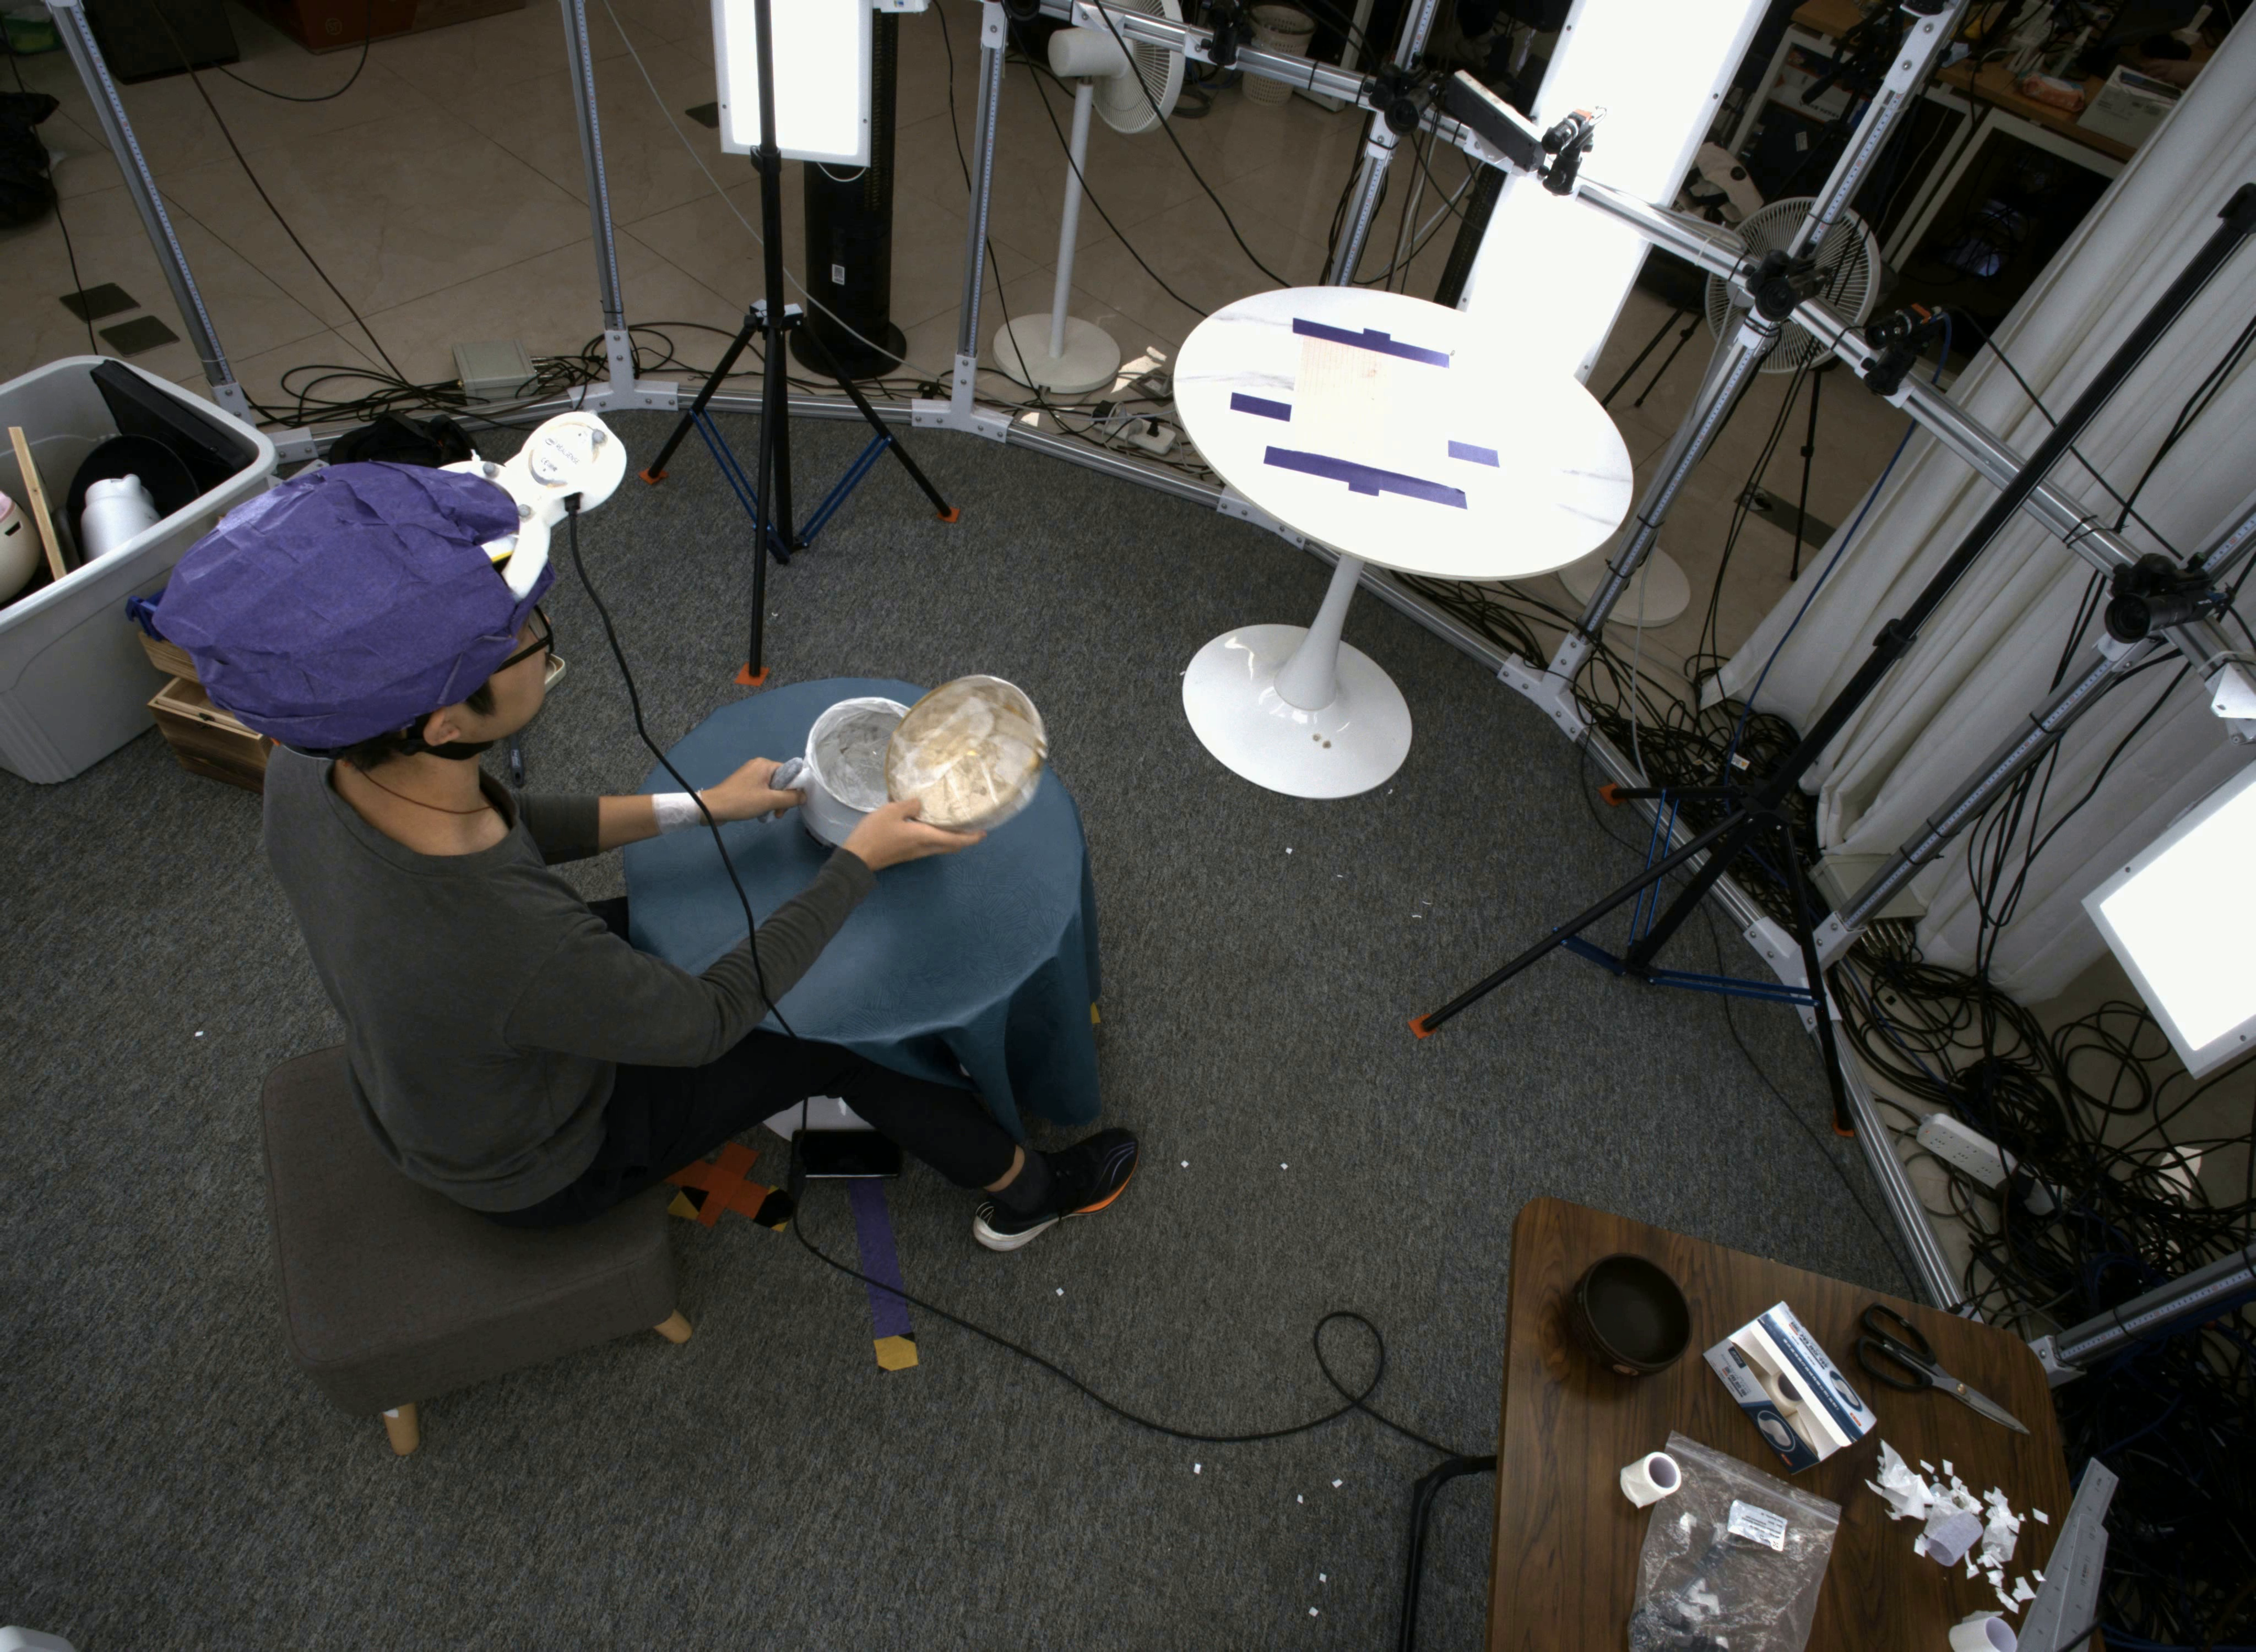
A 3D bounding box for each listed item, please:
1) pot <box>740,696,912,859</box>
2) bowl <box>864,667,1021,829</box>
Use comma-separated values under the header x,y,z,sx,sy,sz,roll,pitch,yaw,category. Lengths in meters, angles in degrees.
x,y,z,sx,sy,sz,roll,pitch,yaw,category
-0.381,-0.054,1.678,0.236,0.137,0.176,-11,65,-29,pot
-0.215,-0.078,1.580,0.210,0.098,0.212,-8,65,18,bowl
